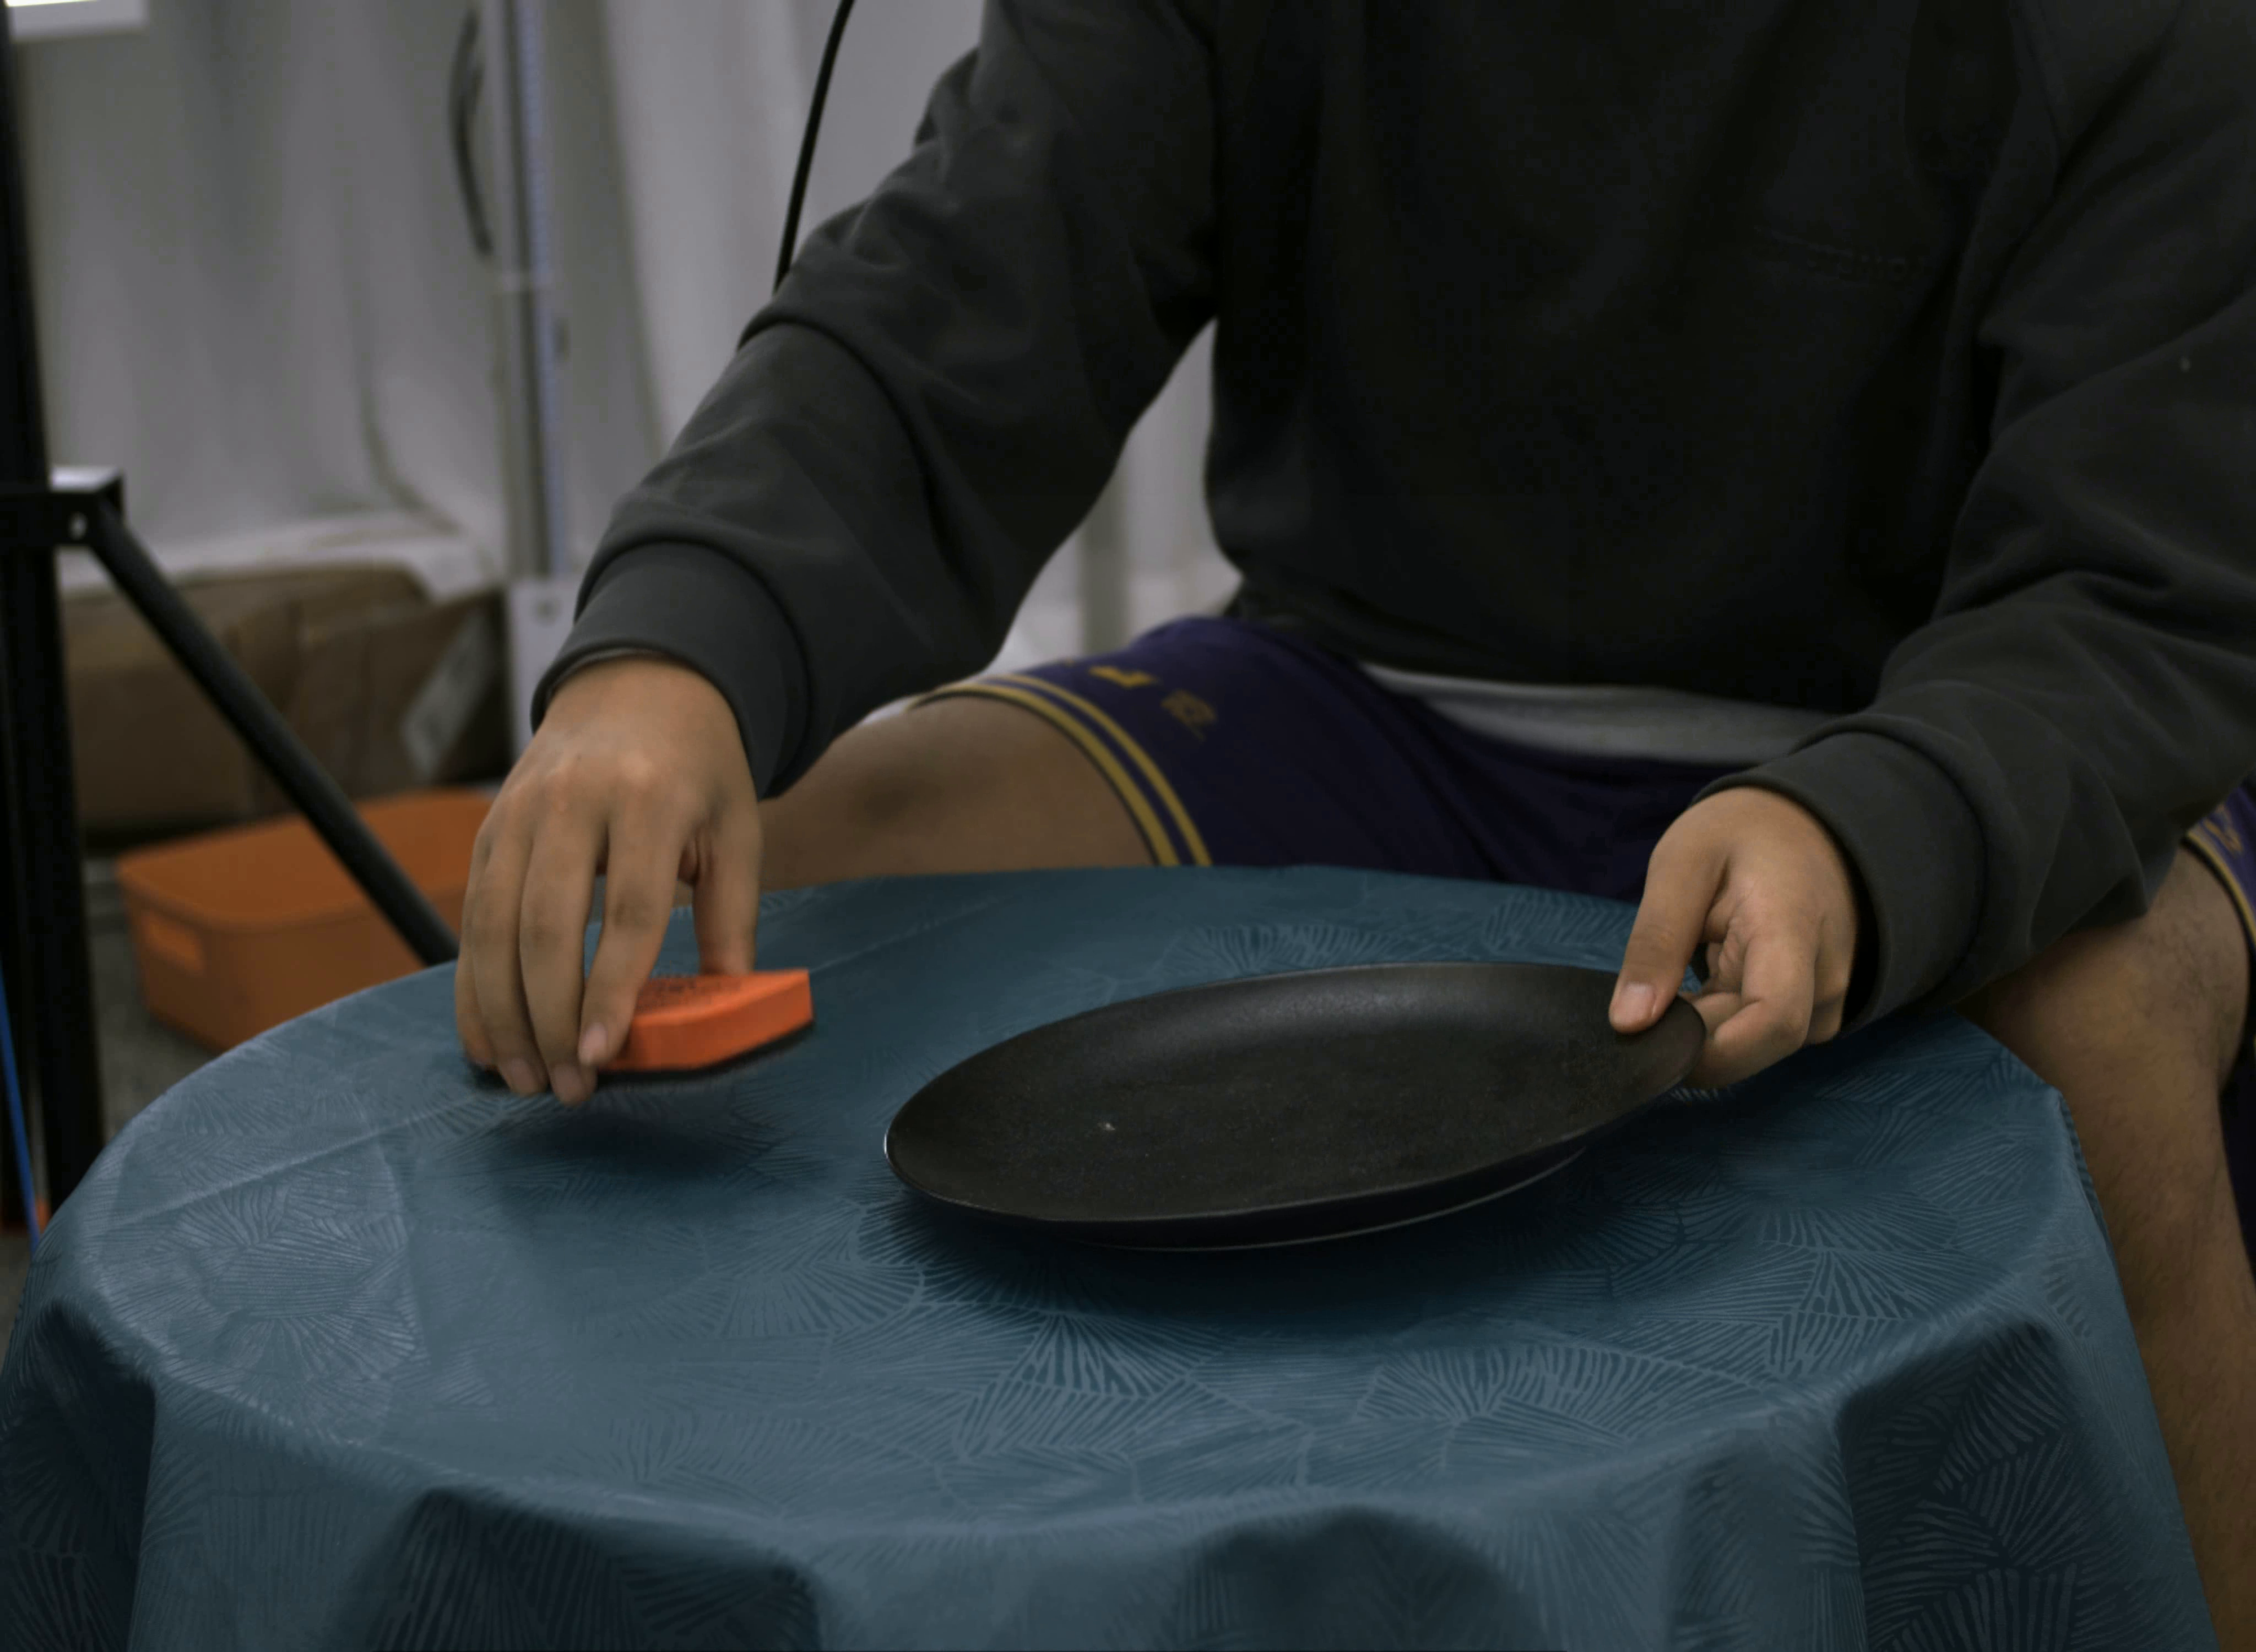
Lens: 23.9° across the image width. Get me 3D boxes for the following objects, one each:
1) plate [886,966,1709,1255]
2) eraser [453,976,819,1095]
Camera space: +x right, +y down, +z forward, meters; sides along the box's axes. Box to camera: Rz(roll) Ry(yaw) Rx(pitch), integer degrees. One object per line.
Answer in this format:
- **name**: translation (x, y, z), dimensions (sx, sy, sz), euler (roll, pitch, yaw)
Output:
- **plate**: translation (0.051, 0.085, 1.556), dimensions (0.243, 0.023, 0.245), euler (-8, 13, 0)
- **eraser**: translation (-0.150, 0.063, 1.626), dimensions (0.110, 0.023, 0.058), euler (-1, 14, 39)
